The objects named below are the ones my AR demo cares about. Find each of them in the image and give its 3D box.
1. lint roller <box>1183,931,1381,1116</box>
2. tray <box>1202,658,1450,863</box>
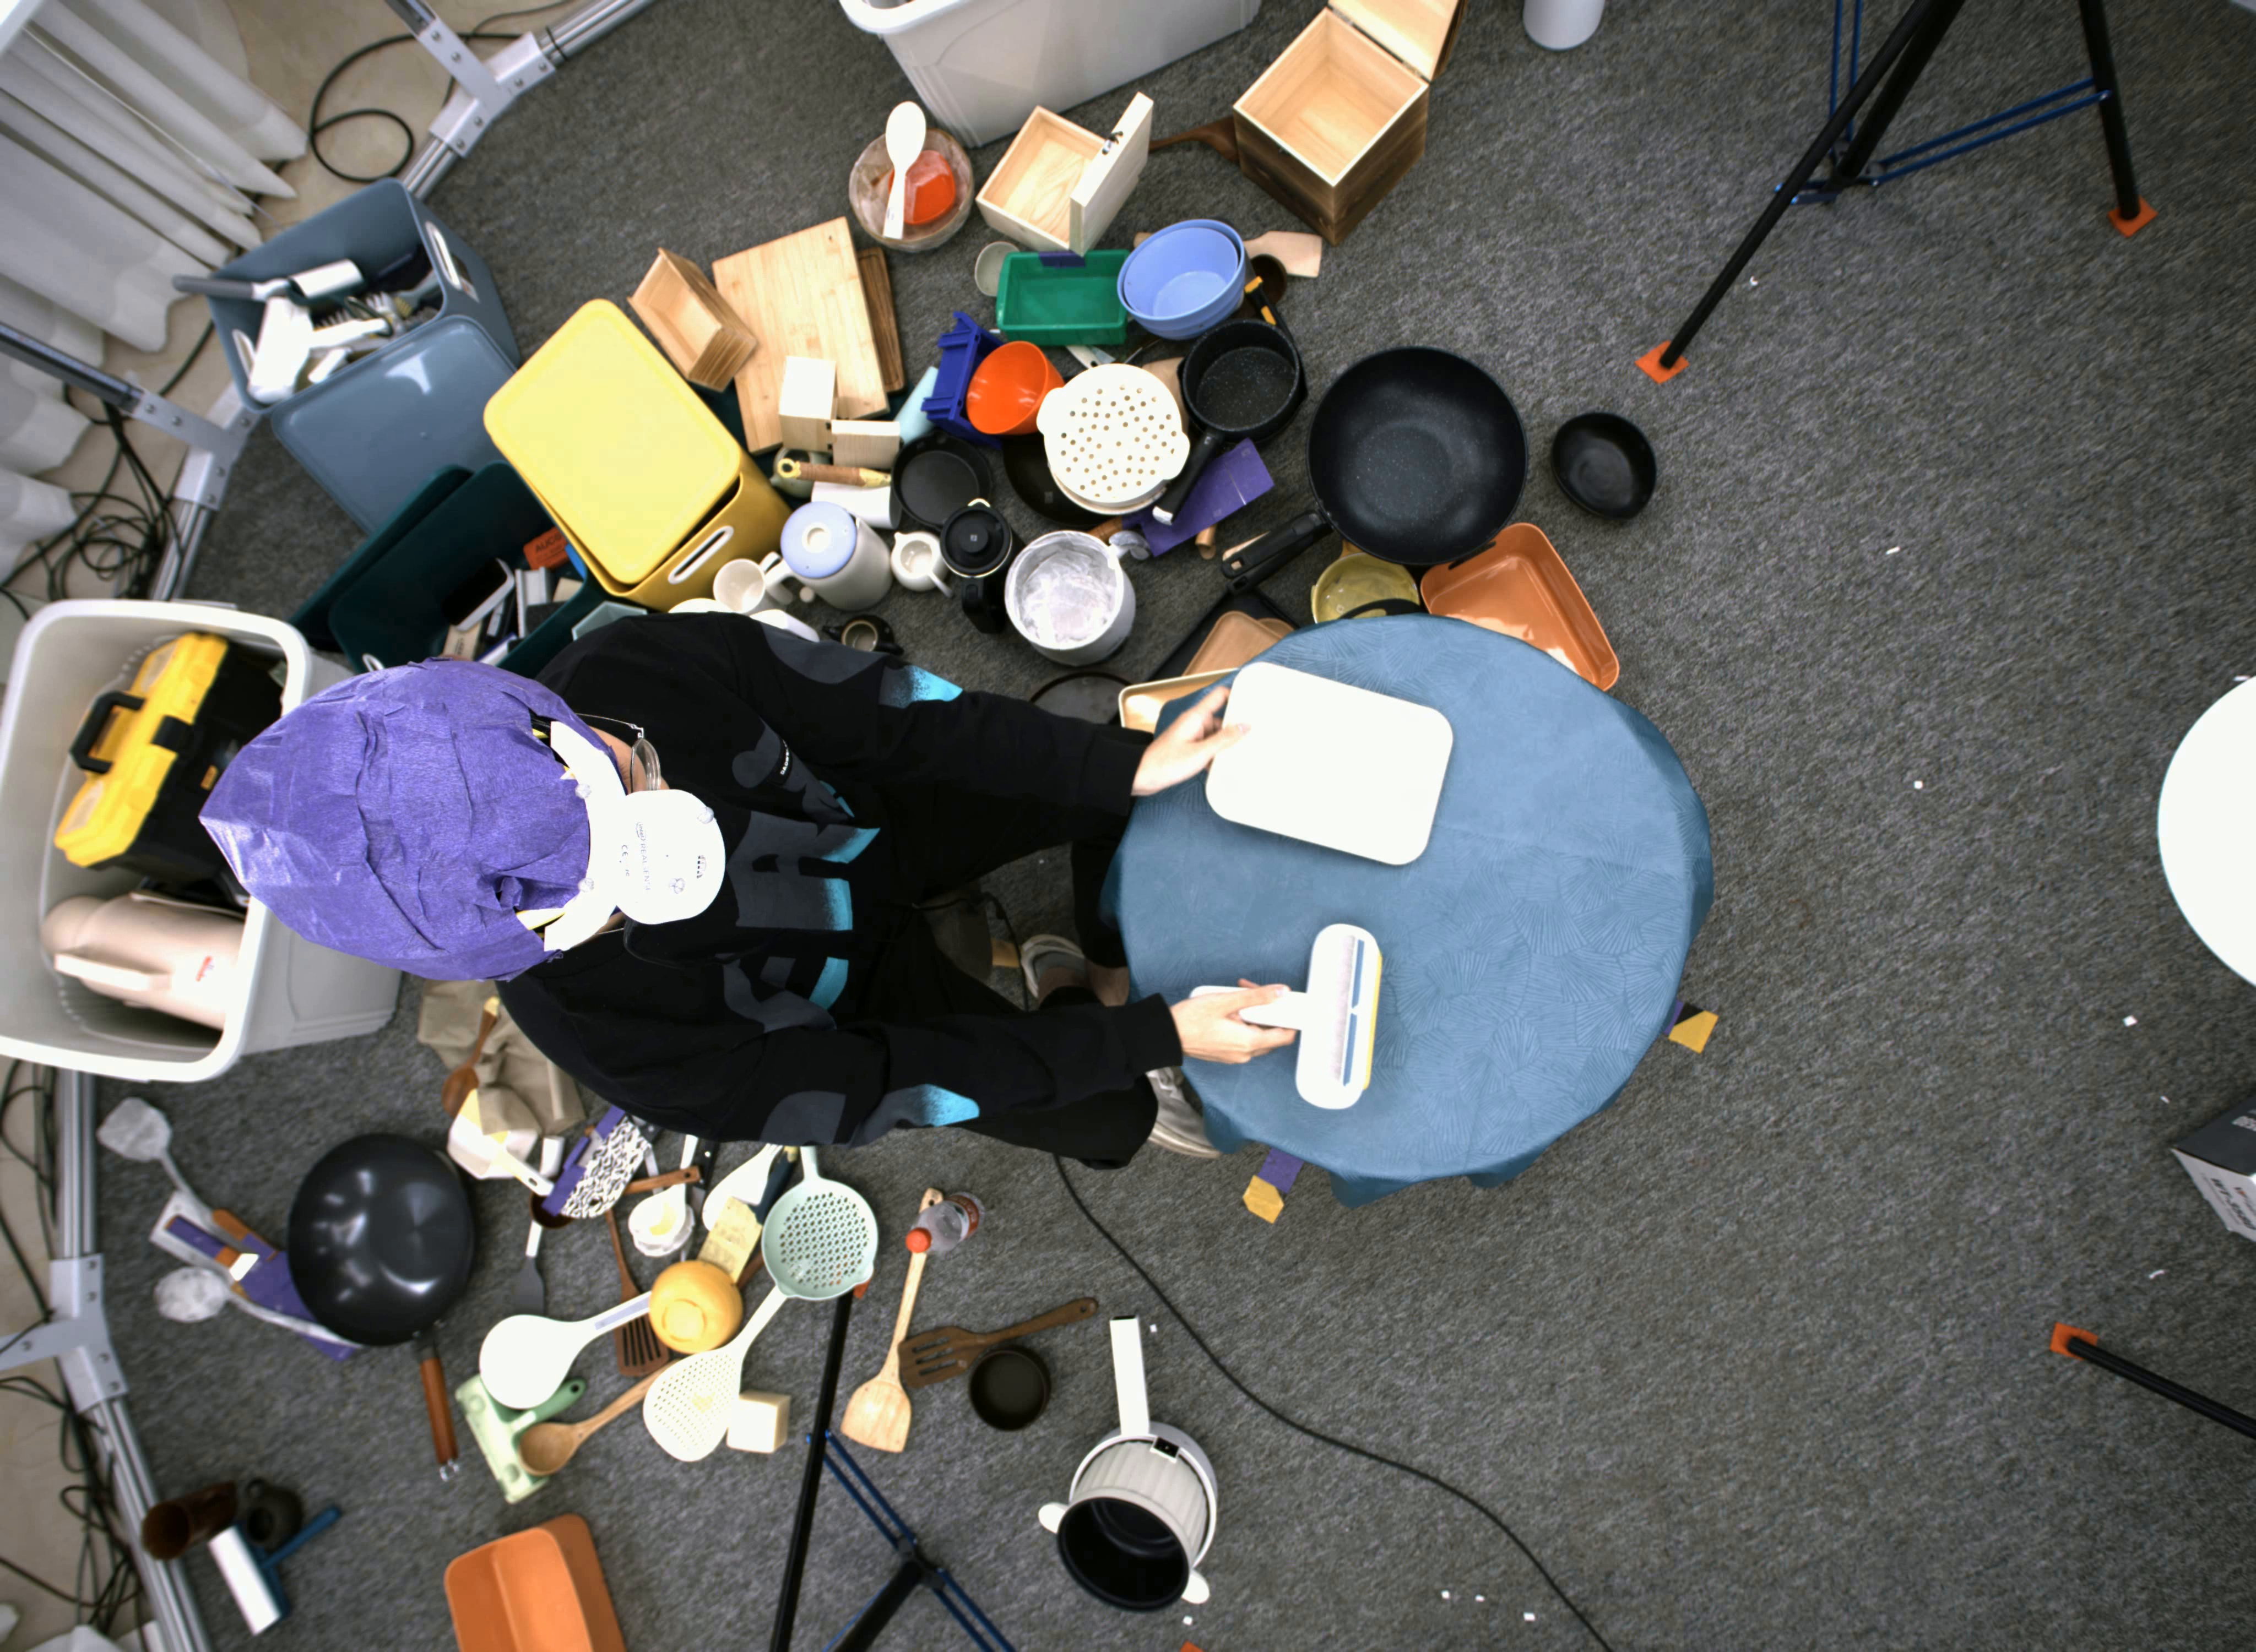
[{"bbox_3d":[0.150,0.188,1.409,0.193,0.075,0.189,12,69,7],"label":"lint roller"},{"bbox_3d":[0.206,-0.069,1.442,0.240,0.017,0.171,17,91,-1],"label":"tray"}]
